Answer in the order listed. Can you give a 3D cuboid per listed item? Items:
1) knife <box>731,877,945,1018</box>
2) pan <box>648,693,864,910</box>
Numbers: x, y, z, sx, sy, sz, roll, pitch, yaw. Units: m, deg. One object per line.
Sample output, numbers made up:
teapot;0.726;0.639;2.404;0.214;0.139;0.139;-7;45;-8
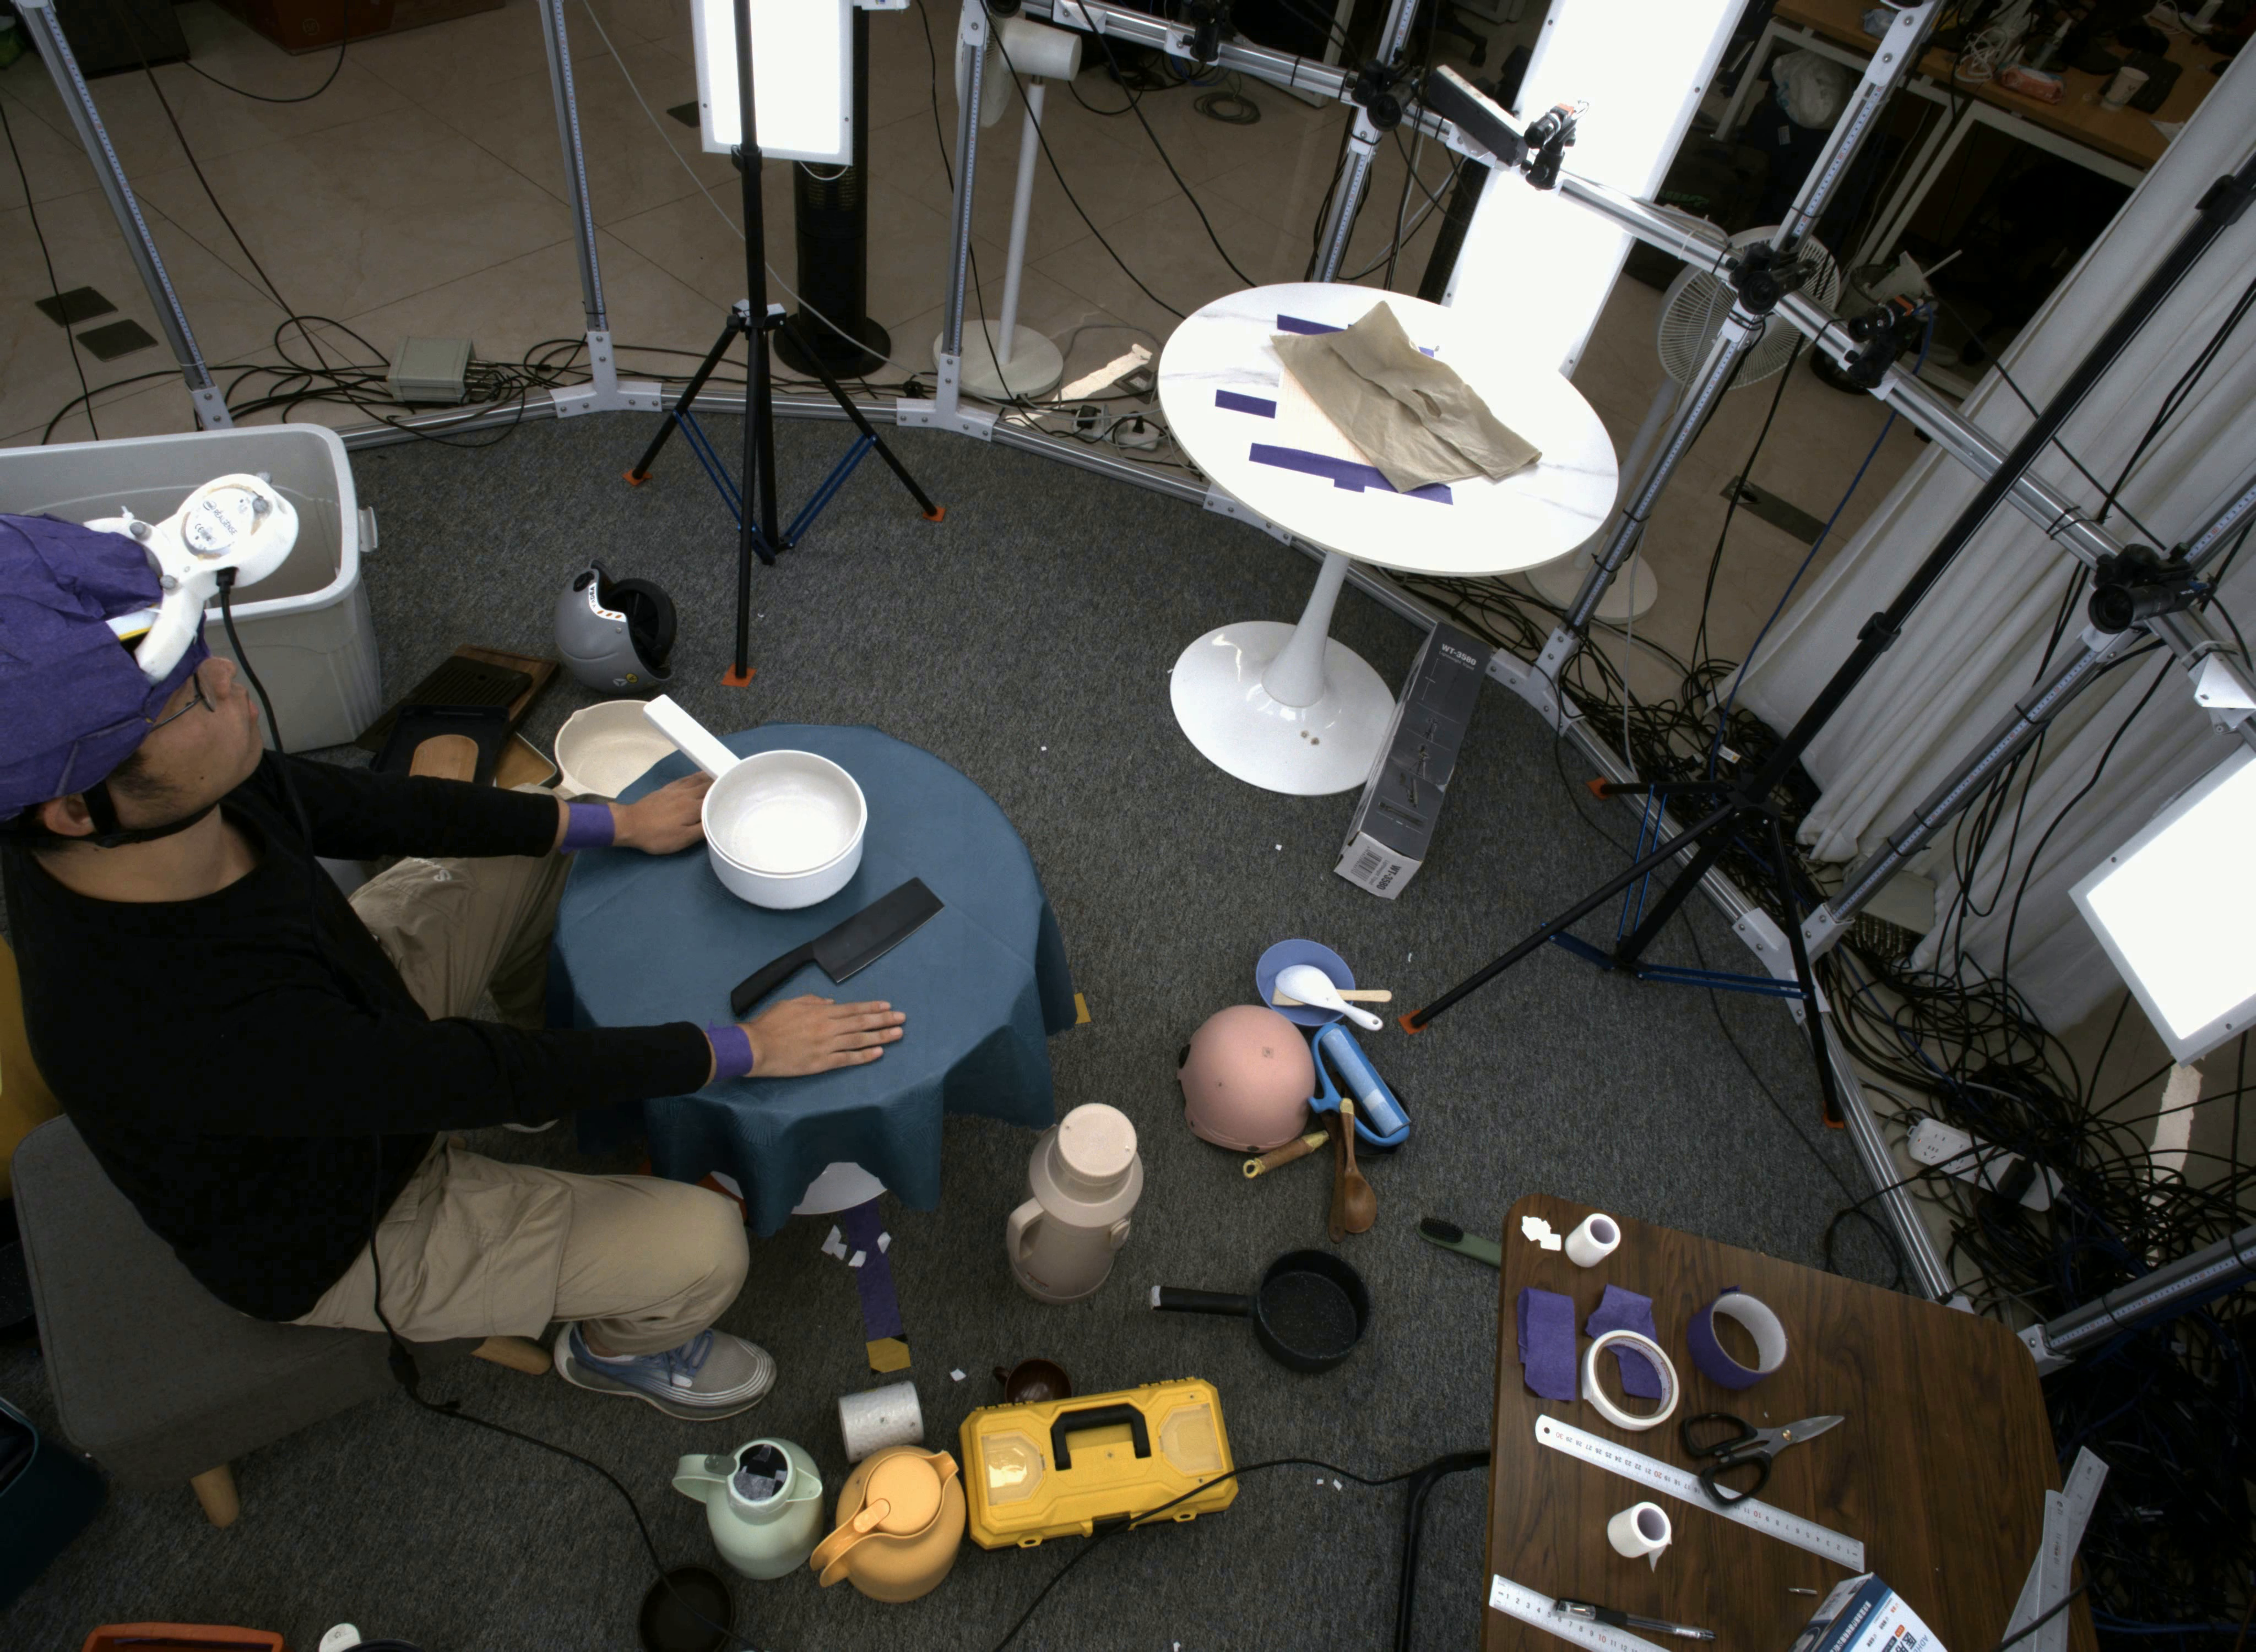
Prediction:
knife;-0.360;0.151;1.616;0.303;0.021;0.079;-29;66;-33
pan;-0.494;-0.036;1.668;0.347;0.104;0.201;37;55;16
